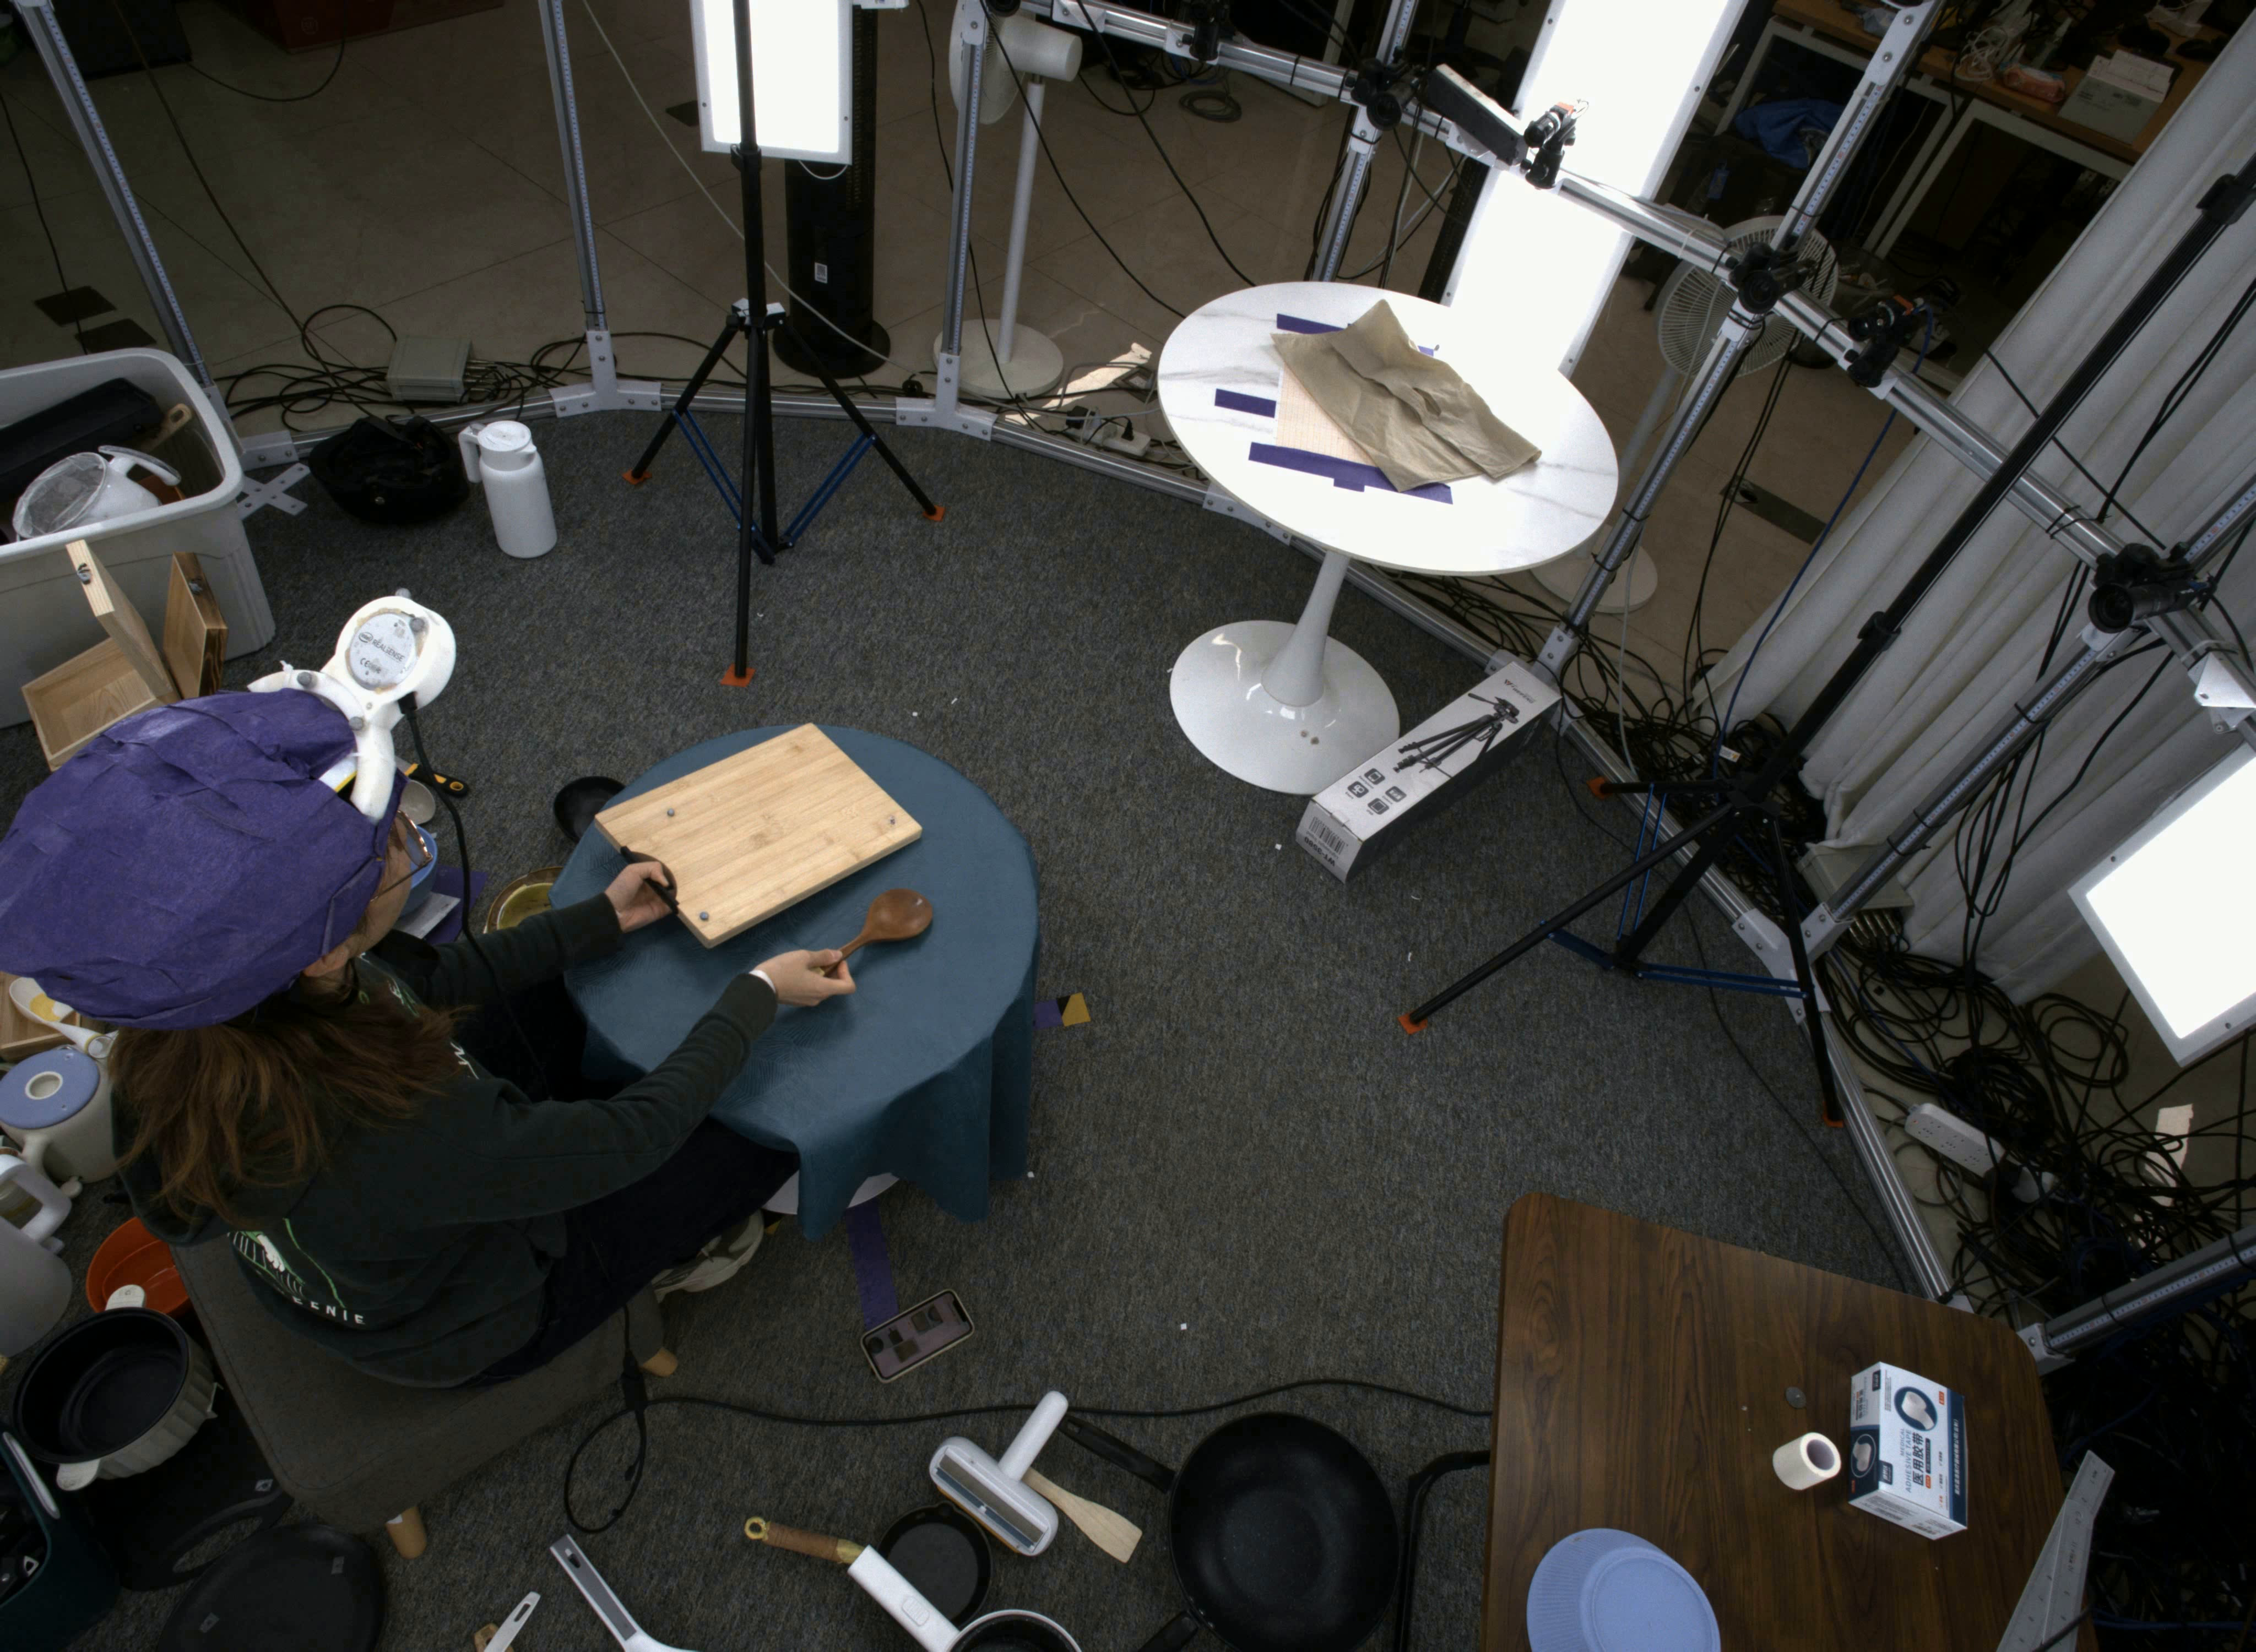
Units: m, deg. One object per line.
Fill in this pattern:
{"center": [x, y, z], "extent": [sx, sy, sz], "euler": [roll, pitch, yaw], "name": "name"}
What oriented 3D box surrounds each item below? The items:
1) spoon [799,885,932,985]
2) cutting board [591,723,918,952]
{"center": [-0.326, 0.135, 1.612], "extent": [0.074, 0.017, 0.216], "euler": [43, 41, 9], "name": "spoon"}
{"center": [-0.475, 0.002, 1.667], "extent": [0.245, 0.024, 0.350], "euler": [41, 45, 17], "name": "cutting board"}
